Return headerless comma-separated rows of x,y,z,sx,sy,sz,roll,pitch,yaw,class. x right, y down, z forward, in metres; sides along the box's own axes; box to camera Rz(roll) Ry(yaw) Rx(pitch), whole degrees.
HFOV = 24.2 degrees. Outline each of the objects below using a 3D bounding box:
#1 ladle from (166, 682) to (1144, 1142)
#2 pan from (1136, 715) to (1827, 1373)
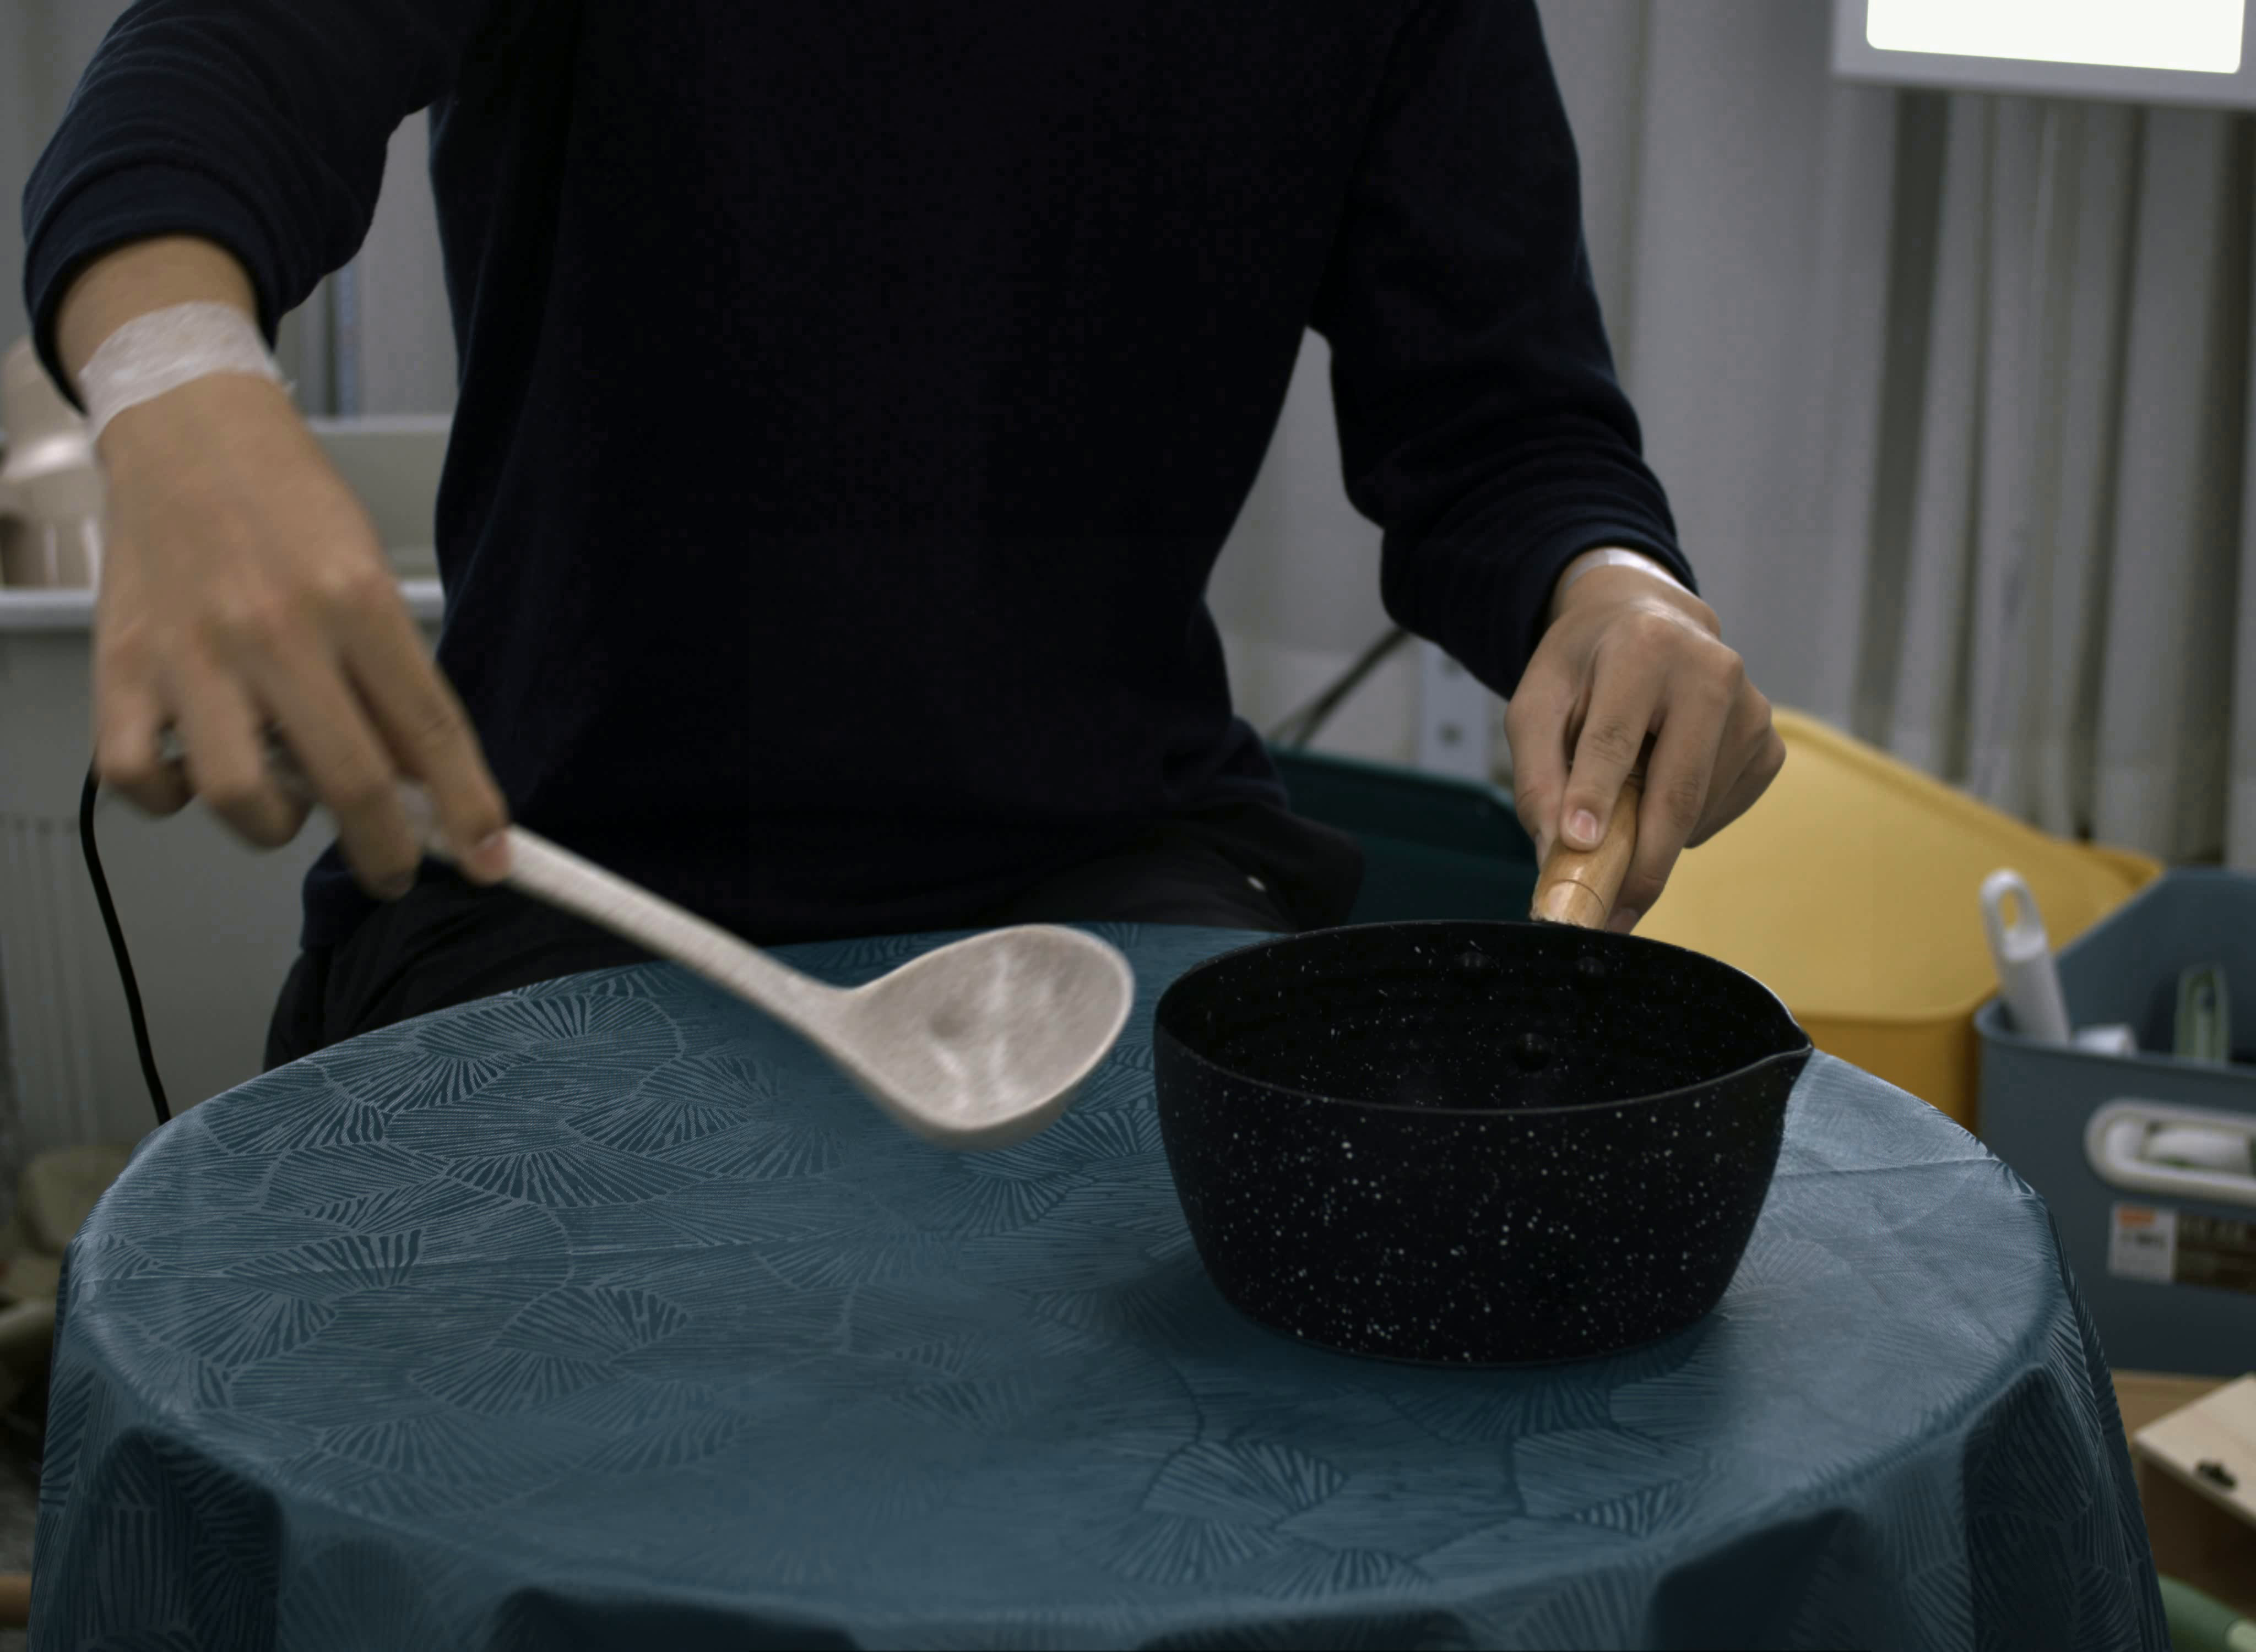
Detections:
-0.123,0.005,1.423,0.277,0.069,0.088,29,30,-23,ladle
0.120,0.061,1.608,0.206,0.109,0.342,3,17,14,pan
